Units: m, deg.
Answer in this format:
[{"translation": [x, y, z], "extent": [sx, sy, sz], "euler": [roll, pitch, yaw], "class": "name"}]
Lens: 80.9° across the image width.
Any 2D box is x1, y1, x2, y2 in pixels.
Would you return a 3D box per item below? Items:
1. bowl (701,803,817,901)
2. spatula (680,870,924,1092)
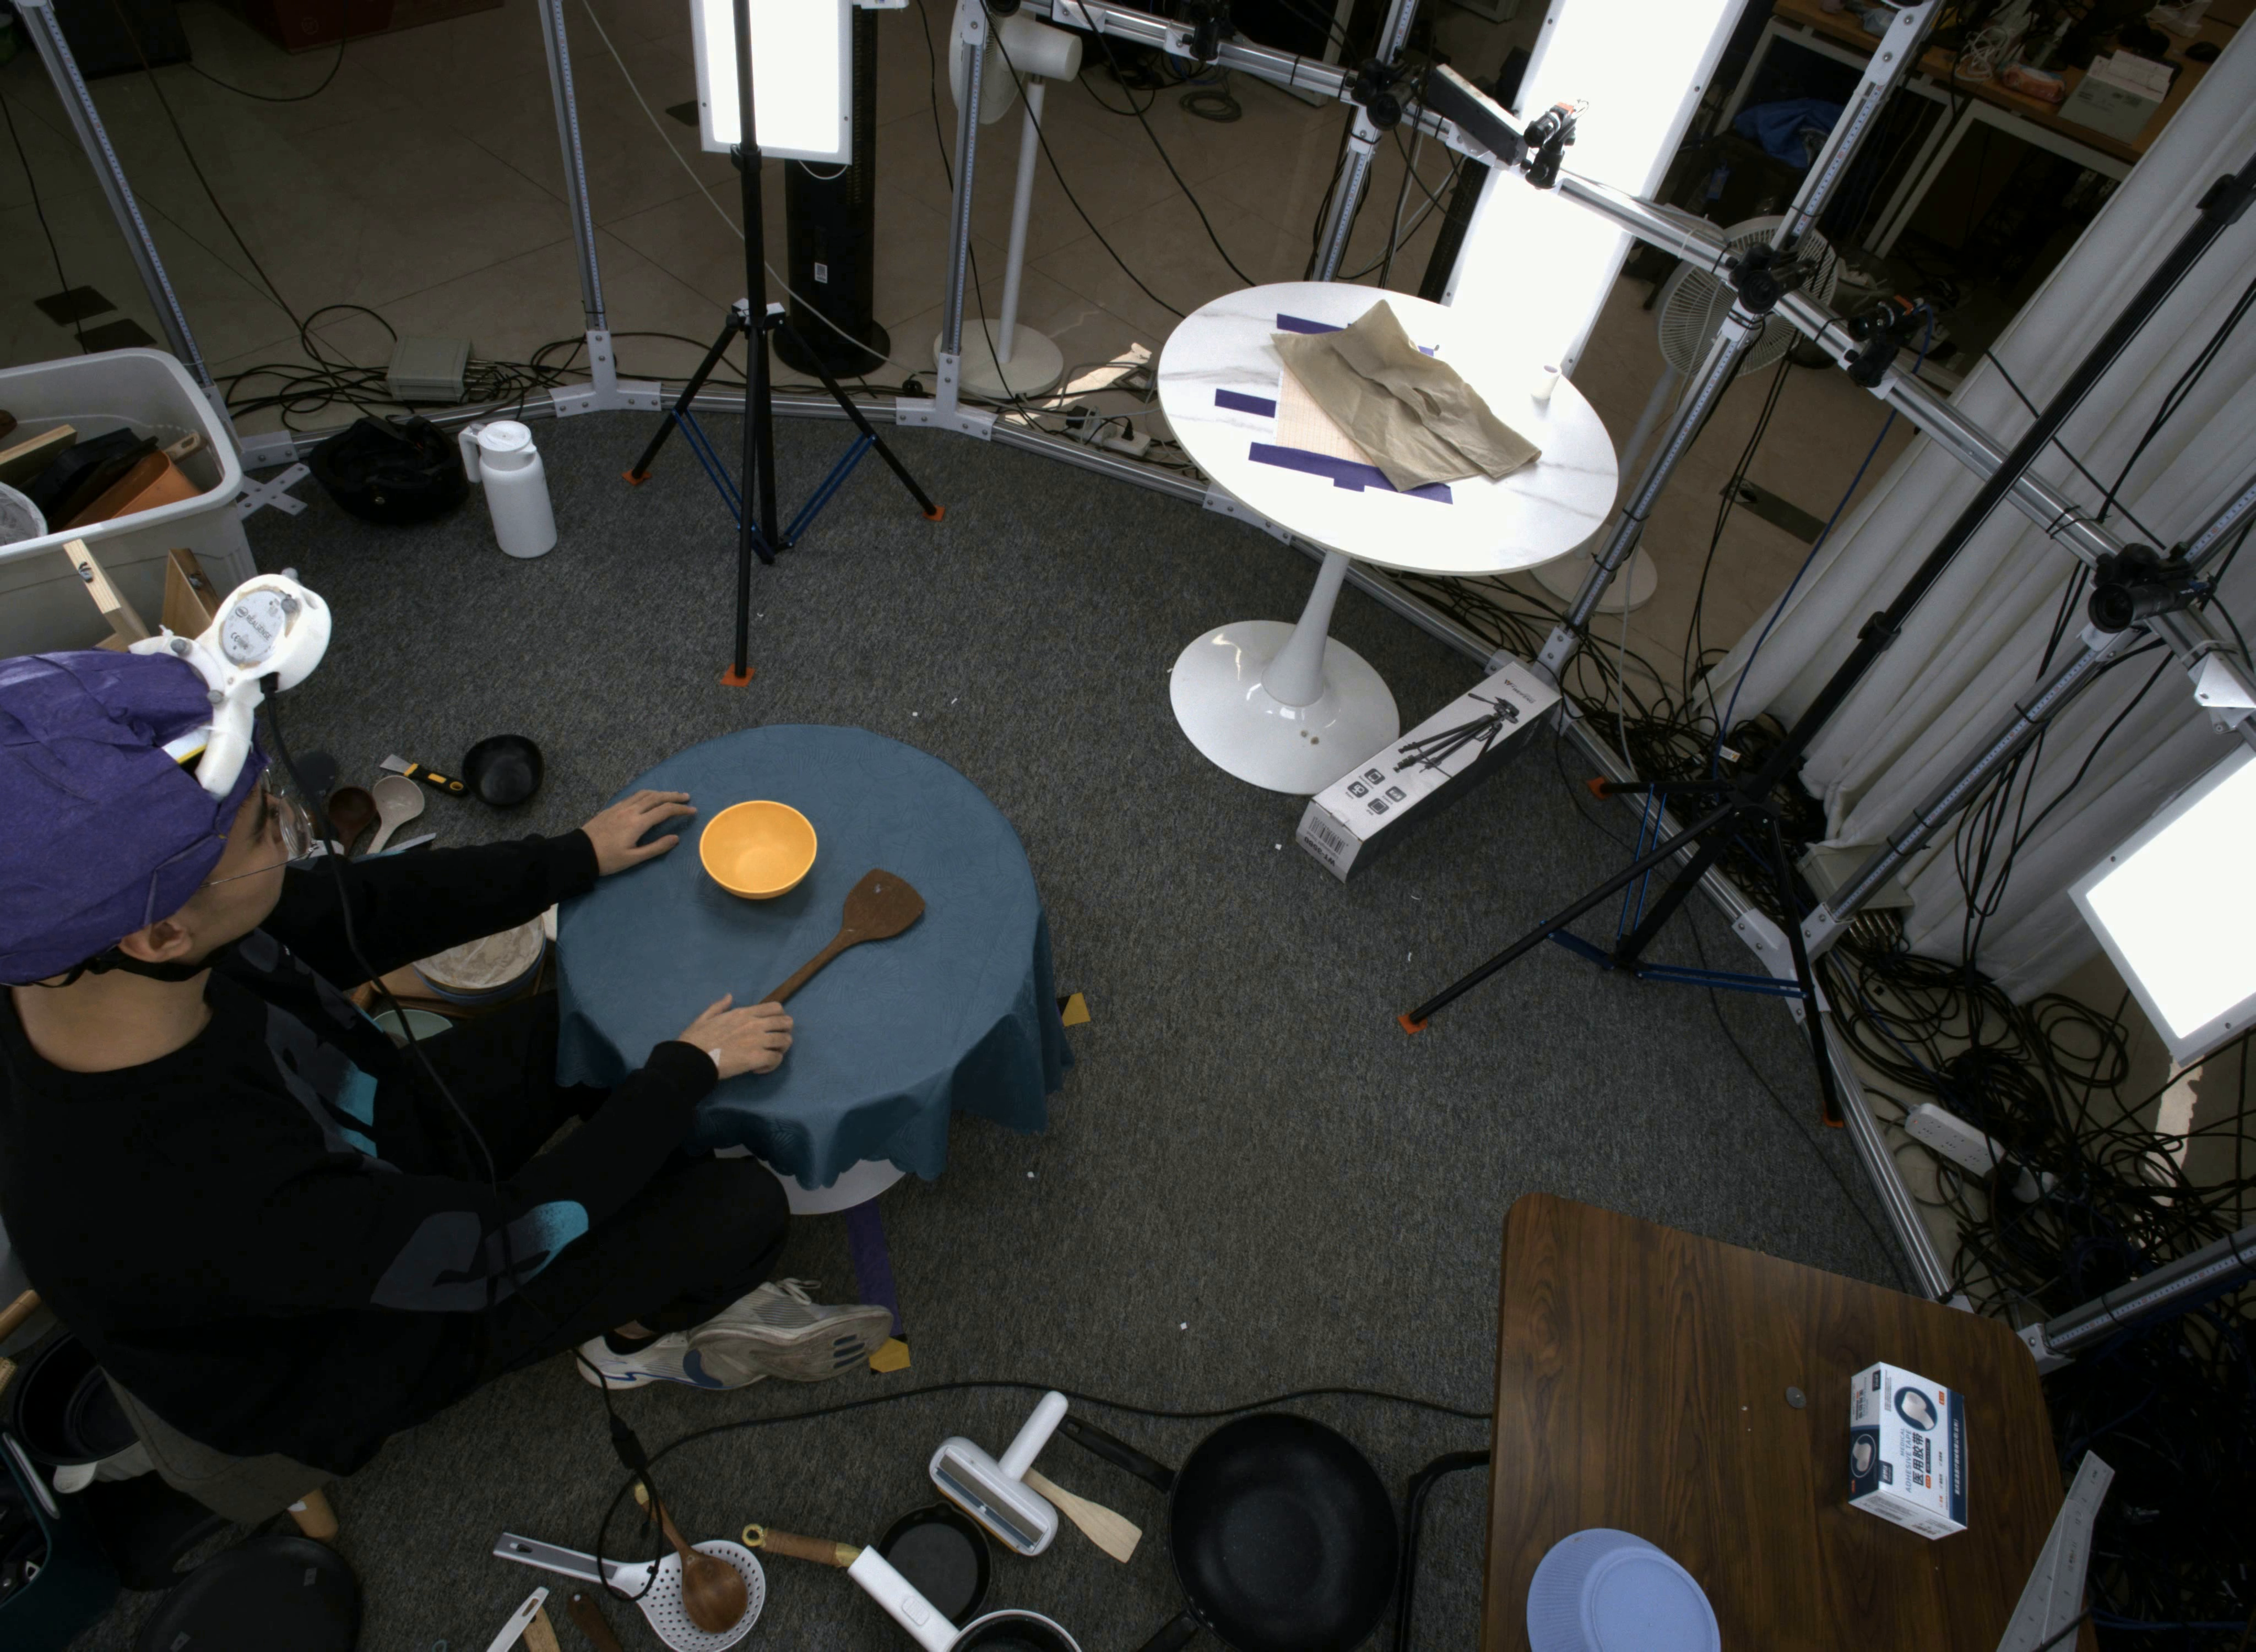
[{"translation": [-0.467, 0.043, 1.651], "extent": [0.144, 0.061, 0.142], "euler": [6, 51, -6], "class": "bowl"}, {"translation": [-0.401, 0.186, 1.588], "extent": [0.094, 0.016, 0.386], "euler": [36, 54, 13], "class": "spatula"}]
